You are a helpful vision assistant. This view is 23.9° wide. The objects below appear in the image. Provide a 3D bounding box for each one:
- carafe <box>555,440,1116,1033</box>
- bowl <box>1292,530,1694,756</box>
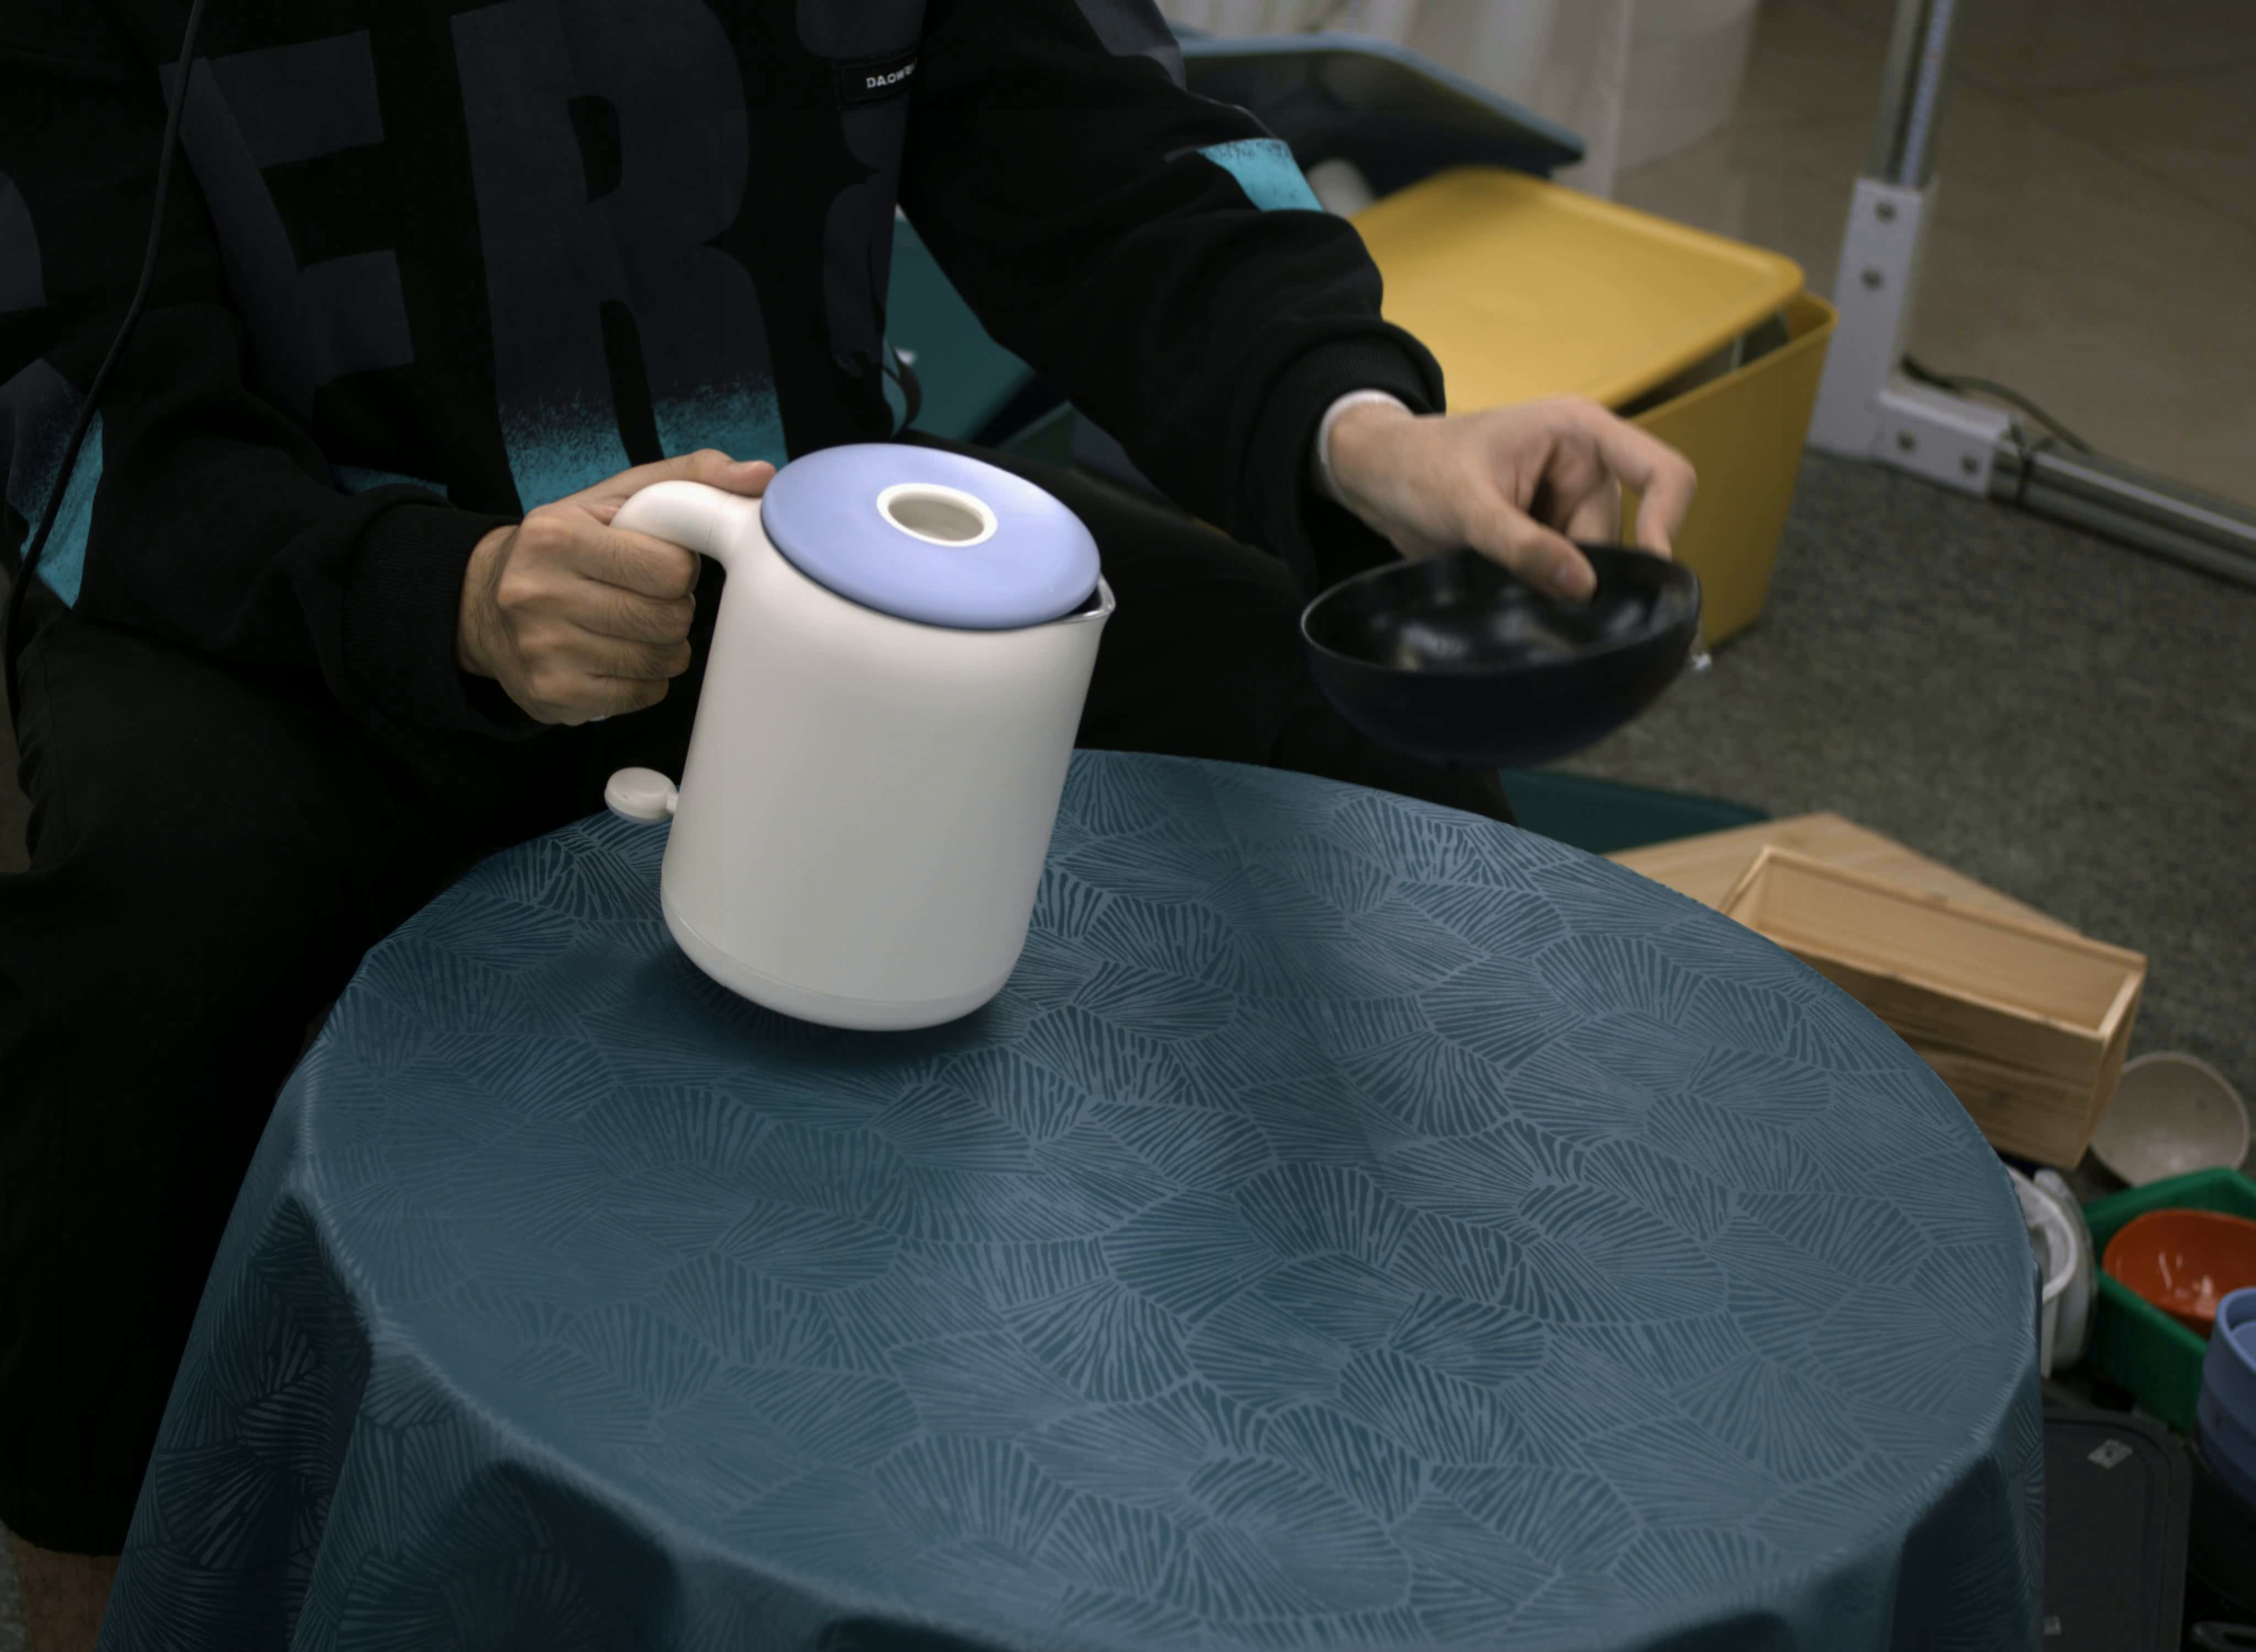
[{"bbox_3d":[-0.108,-0.039,1.857,0.191,0.182,0.132,18,28,11],"label":"carafe"},{"bbox_3d":[0.128,-0.058,1.818,0.140,0.049,0.140,-11,15,3],"label":"bowl"}]
